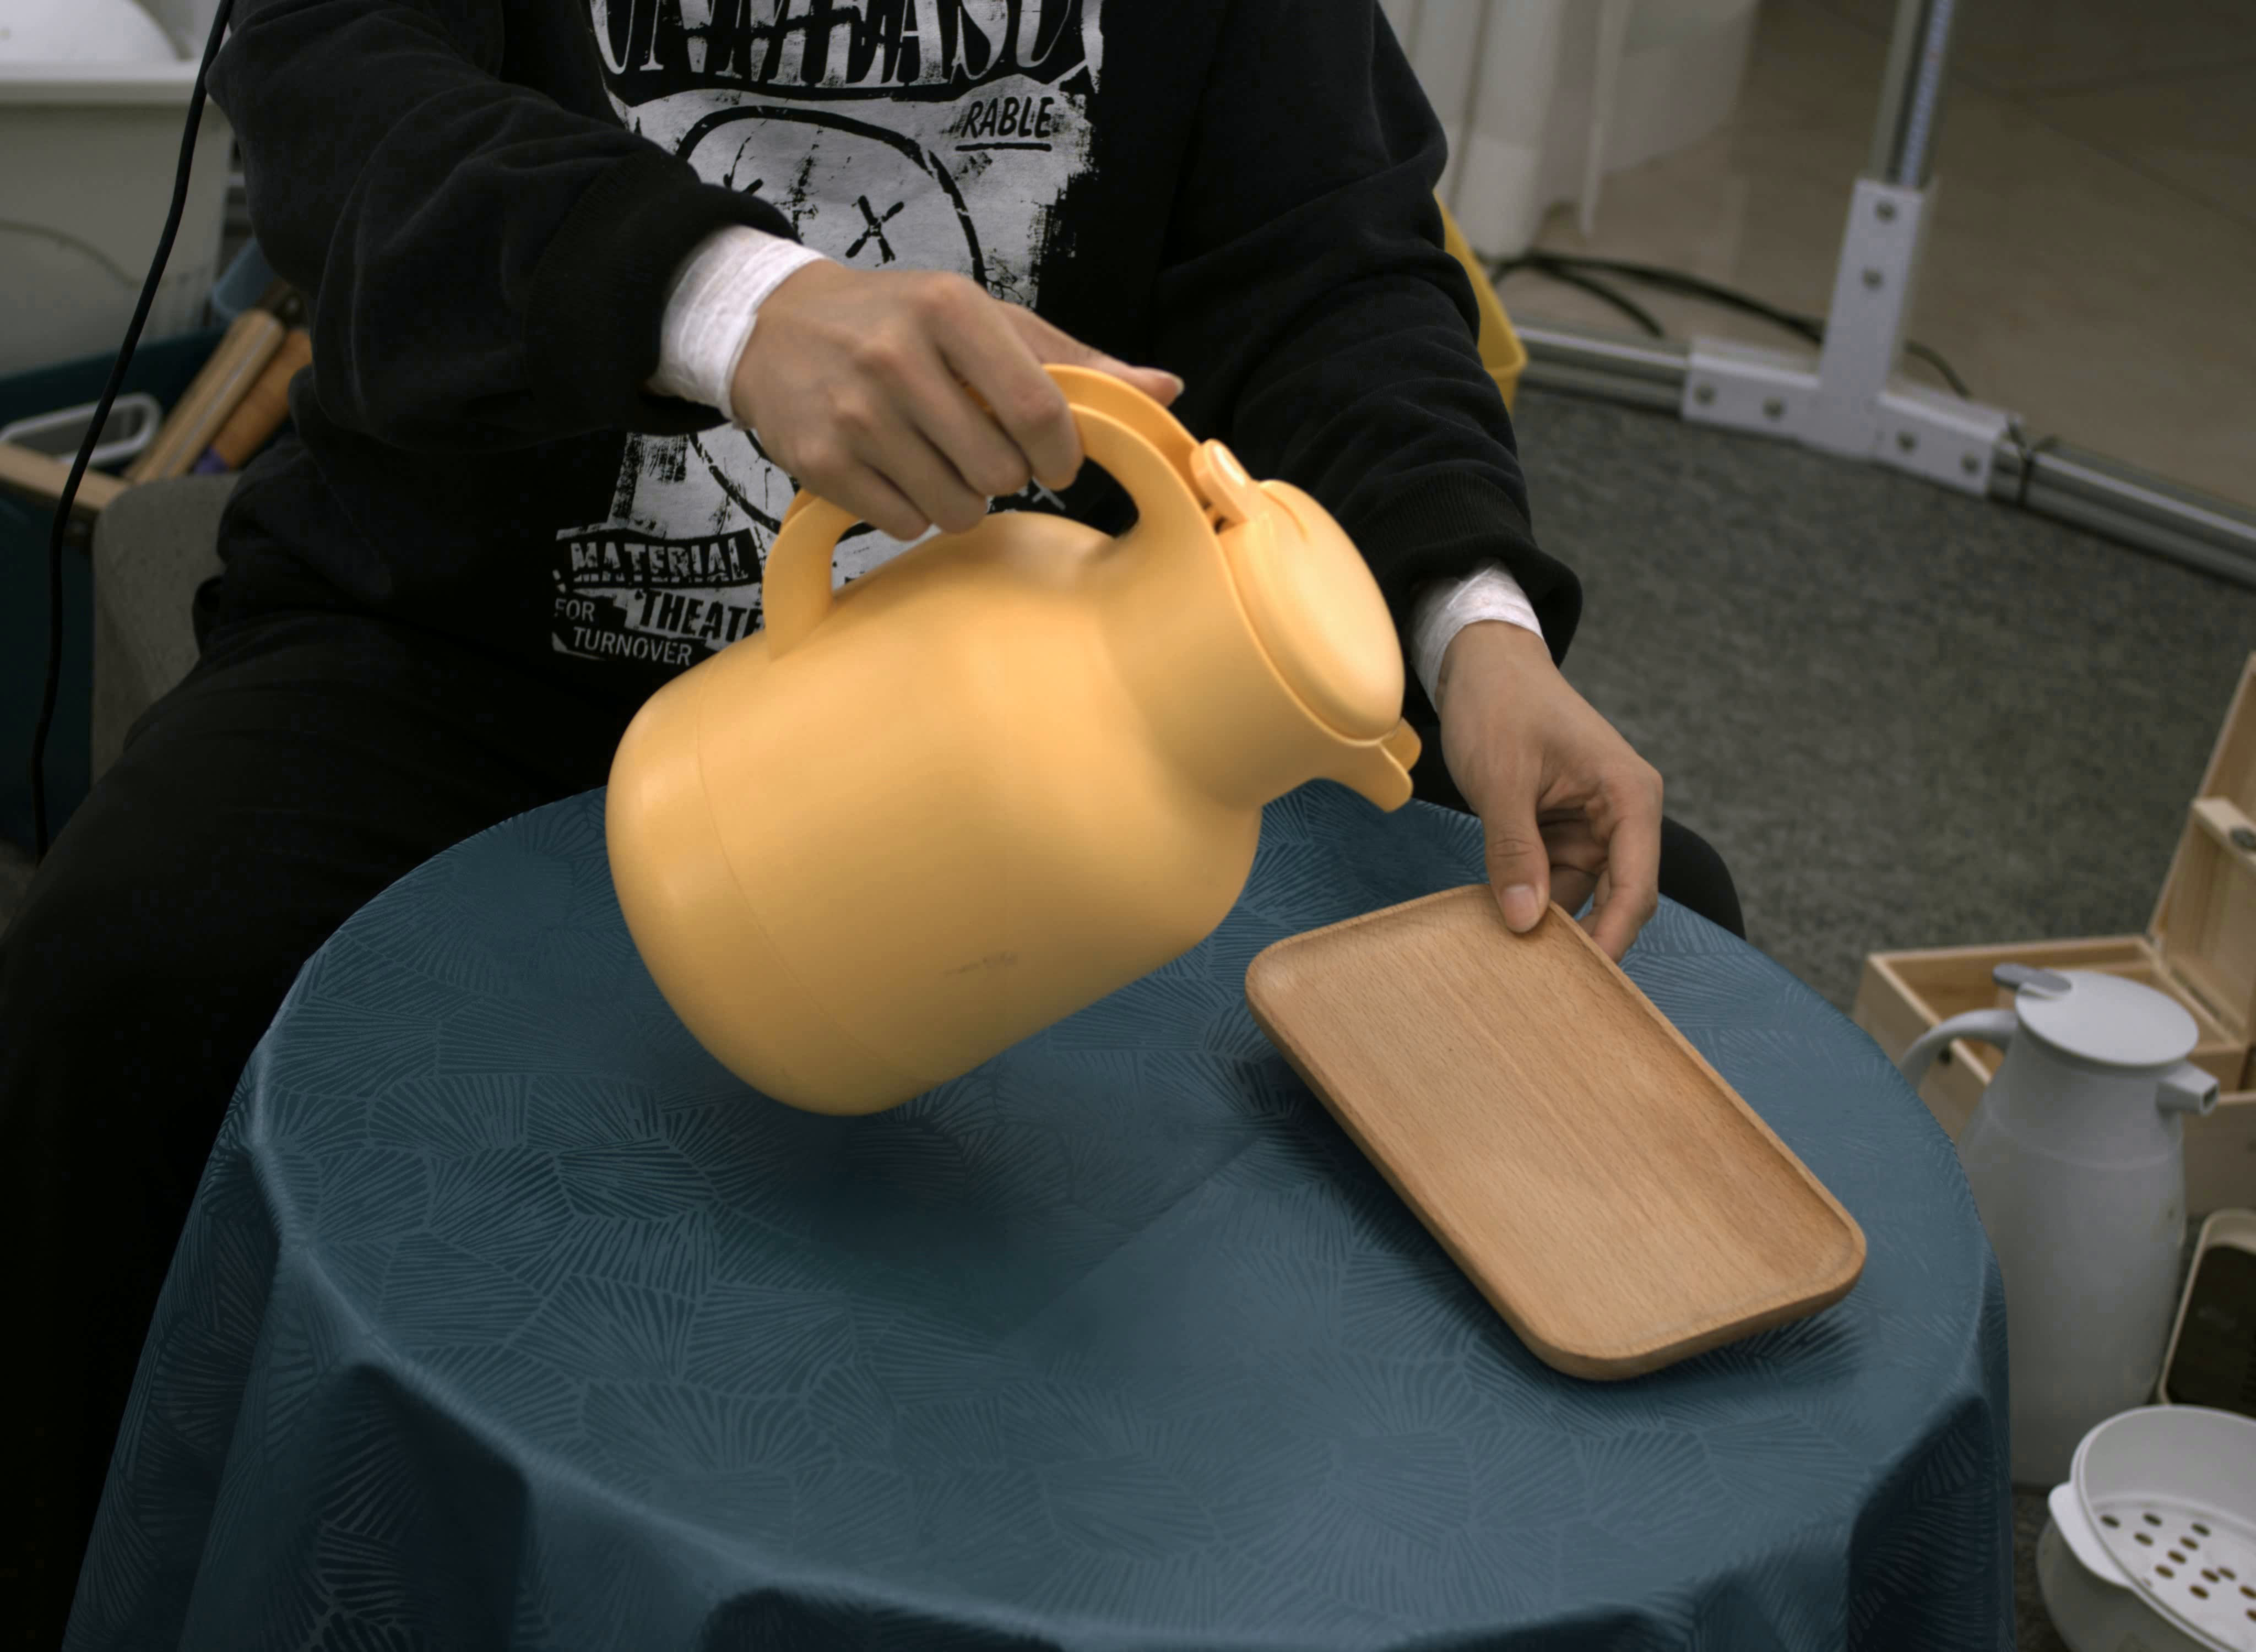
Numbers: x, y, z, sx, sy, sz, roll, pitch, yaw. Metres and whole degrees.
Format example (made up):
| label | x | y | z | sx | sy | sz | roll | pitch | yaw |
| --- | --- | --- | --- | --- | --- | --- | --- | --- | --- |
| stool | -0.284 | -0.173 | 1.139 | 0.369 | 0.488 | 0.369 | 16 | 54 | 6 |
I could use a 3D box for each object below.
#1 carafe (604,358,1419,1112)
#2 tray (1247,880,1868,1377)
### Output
| label | x | y | z | sx | sy | sz | roll | pitch | yaw |
| --- | --- | --- | --- | --- | --- | --- | --- | --- | --- |
| carafe | -0.046 | -0.037 | 1.744 | 0.260 | 0.201 | 0.164 | -28 | 20 | 23 |
| tray | 0.143 | 0.101 | 1.826 | 0.130 | 0.023 | 0.253 | -13 | 36 | -21 |
